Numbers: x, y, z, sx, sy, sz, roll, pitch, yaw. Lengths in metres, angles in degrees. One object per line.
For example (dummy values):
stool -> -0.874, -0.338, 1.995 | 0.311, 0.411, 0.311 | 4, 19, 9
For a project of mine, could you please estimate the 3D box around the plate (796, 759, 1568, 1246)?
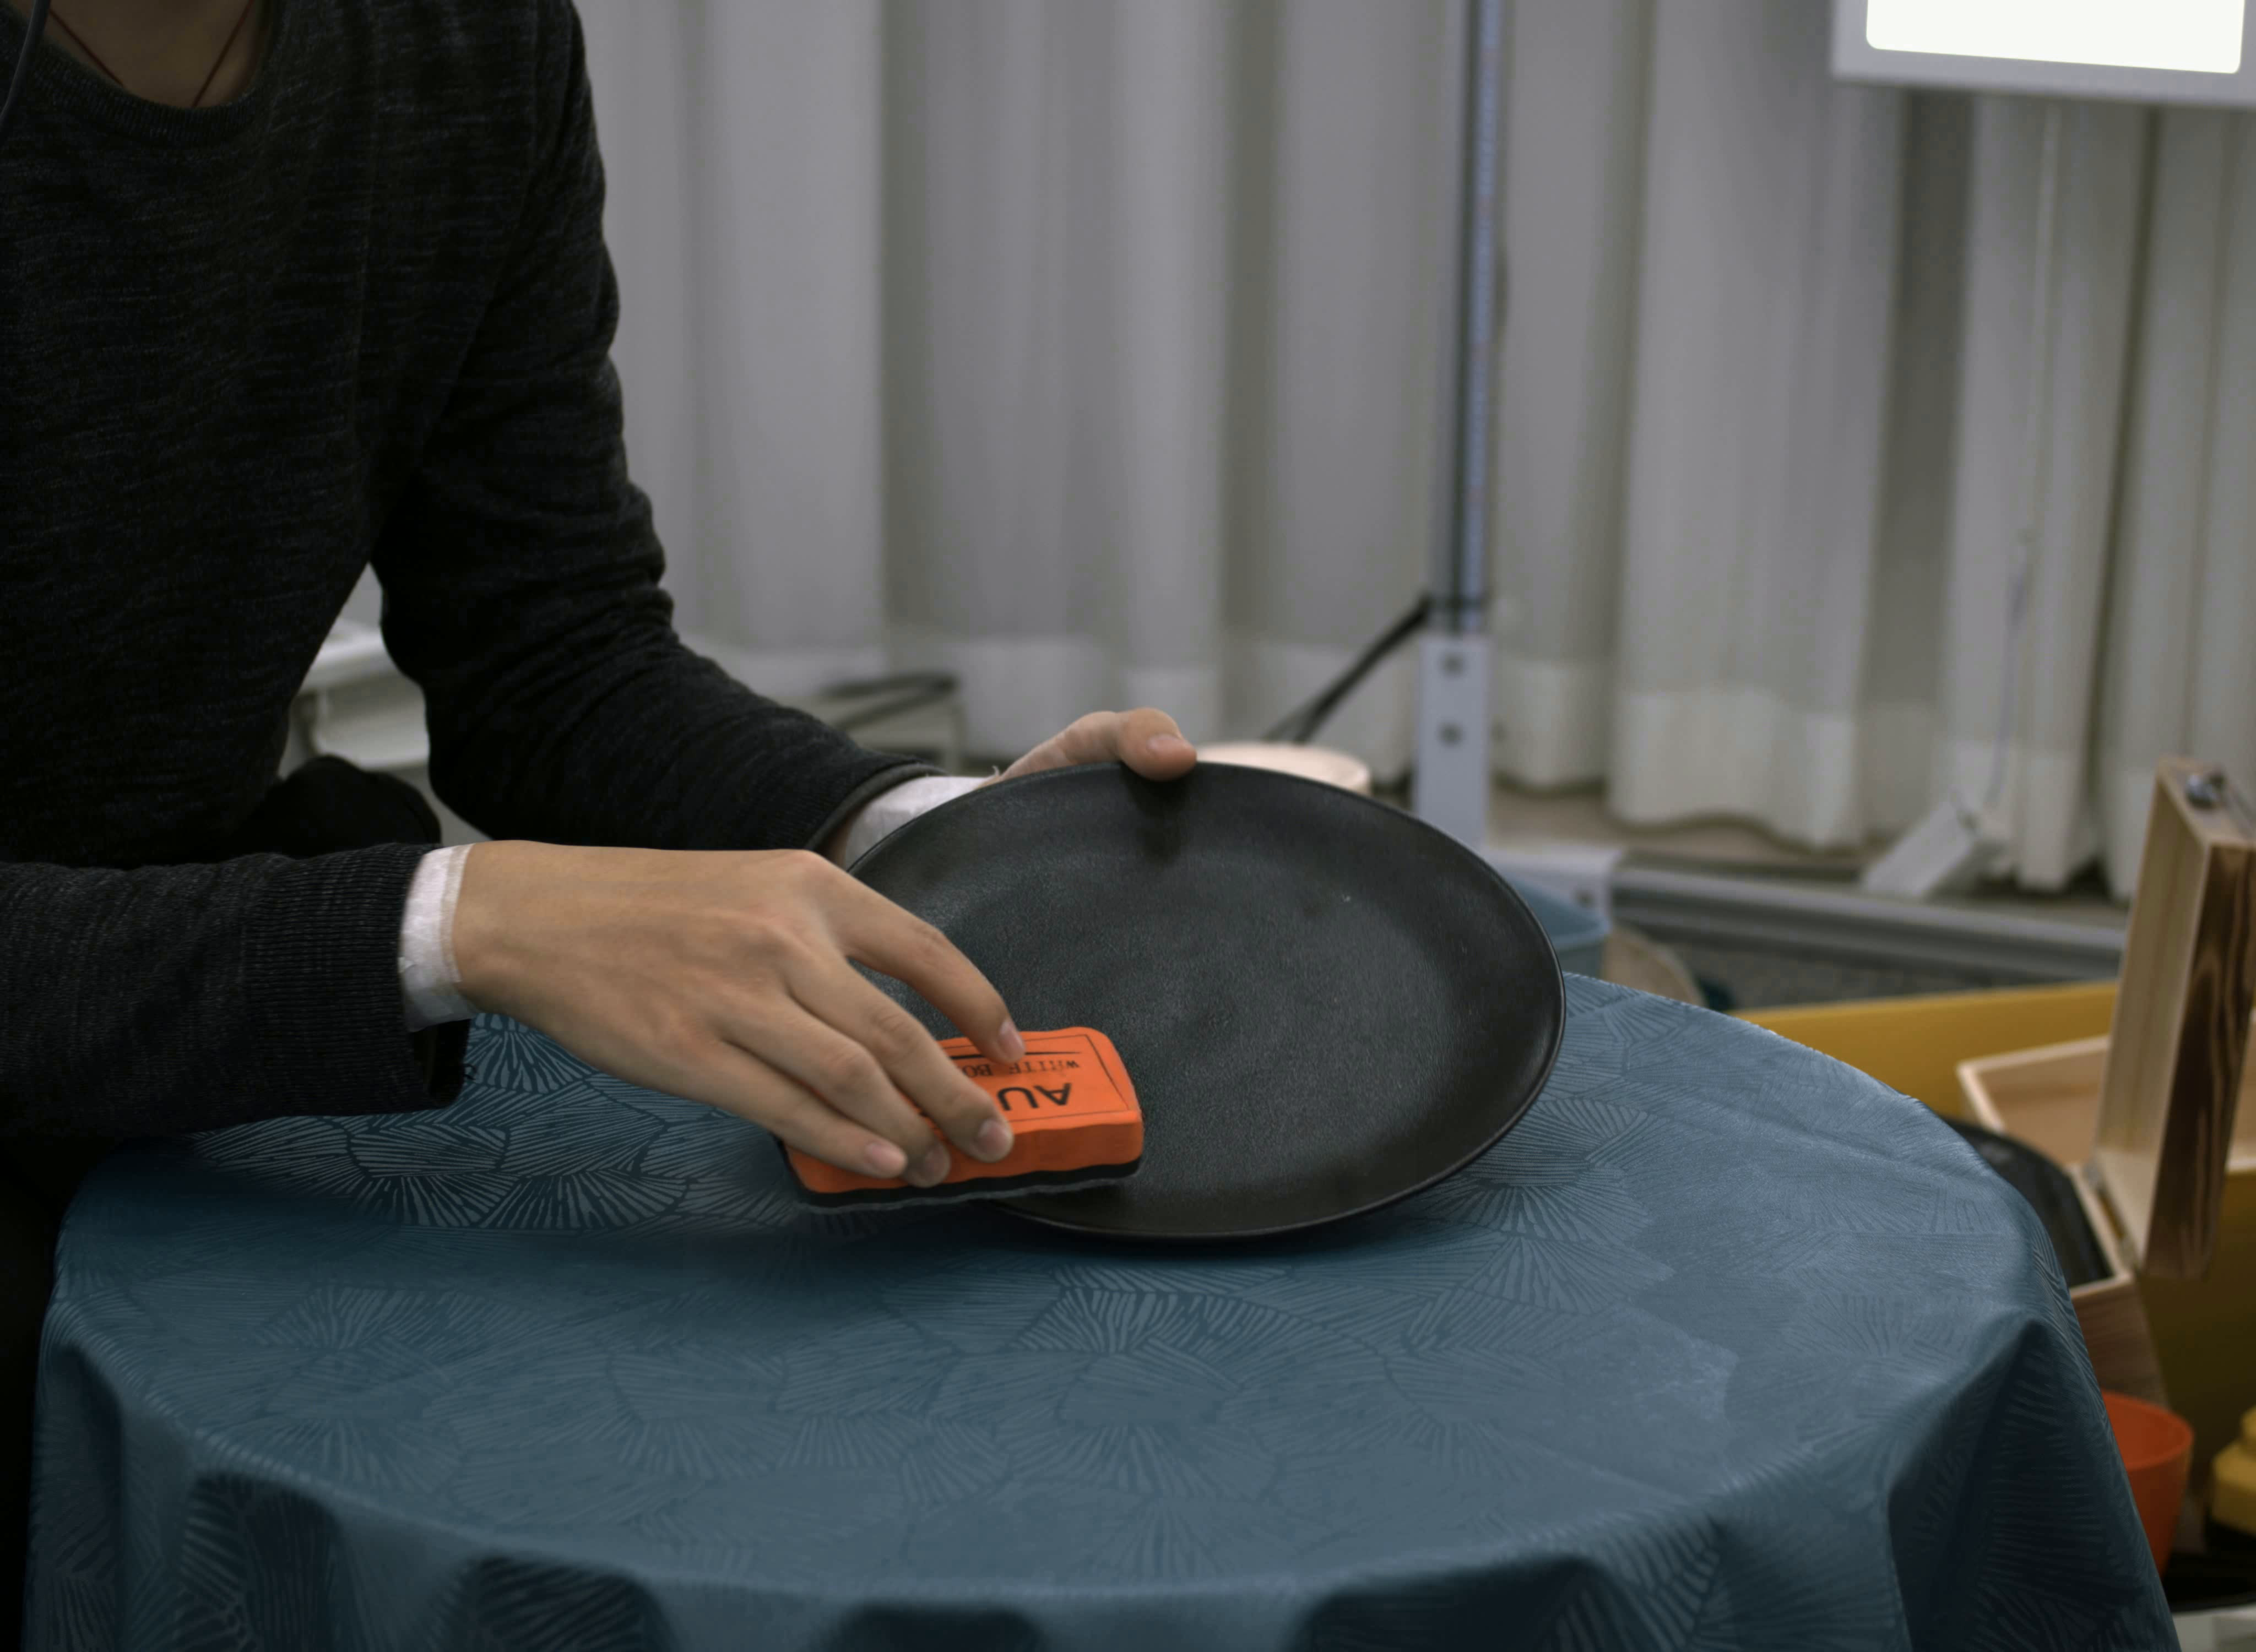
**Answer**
plate -> 0.017, 0.057, 1.659 | 0.243, 0.024, 0.242 | 1, 37, 0

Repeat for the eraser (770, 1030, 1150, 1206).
eraser -> -0.051, 0.087, 1.583 | 0.108, 0.023, 0.058 | -4, 27, -17
